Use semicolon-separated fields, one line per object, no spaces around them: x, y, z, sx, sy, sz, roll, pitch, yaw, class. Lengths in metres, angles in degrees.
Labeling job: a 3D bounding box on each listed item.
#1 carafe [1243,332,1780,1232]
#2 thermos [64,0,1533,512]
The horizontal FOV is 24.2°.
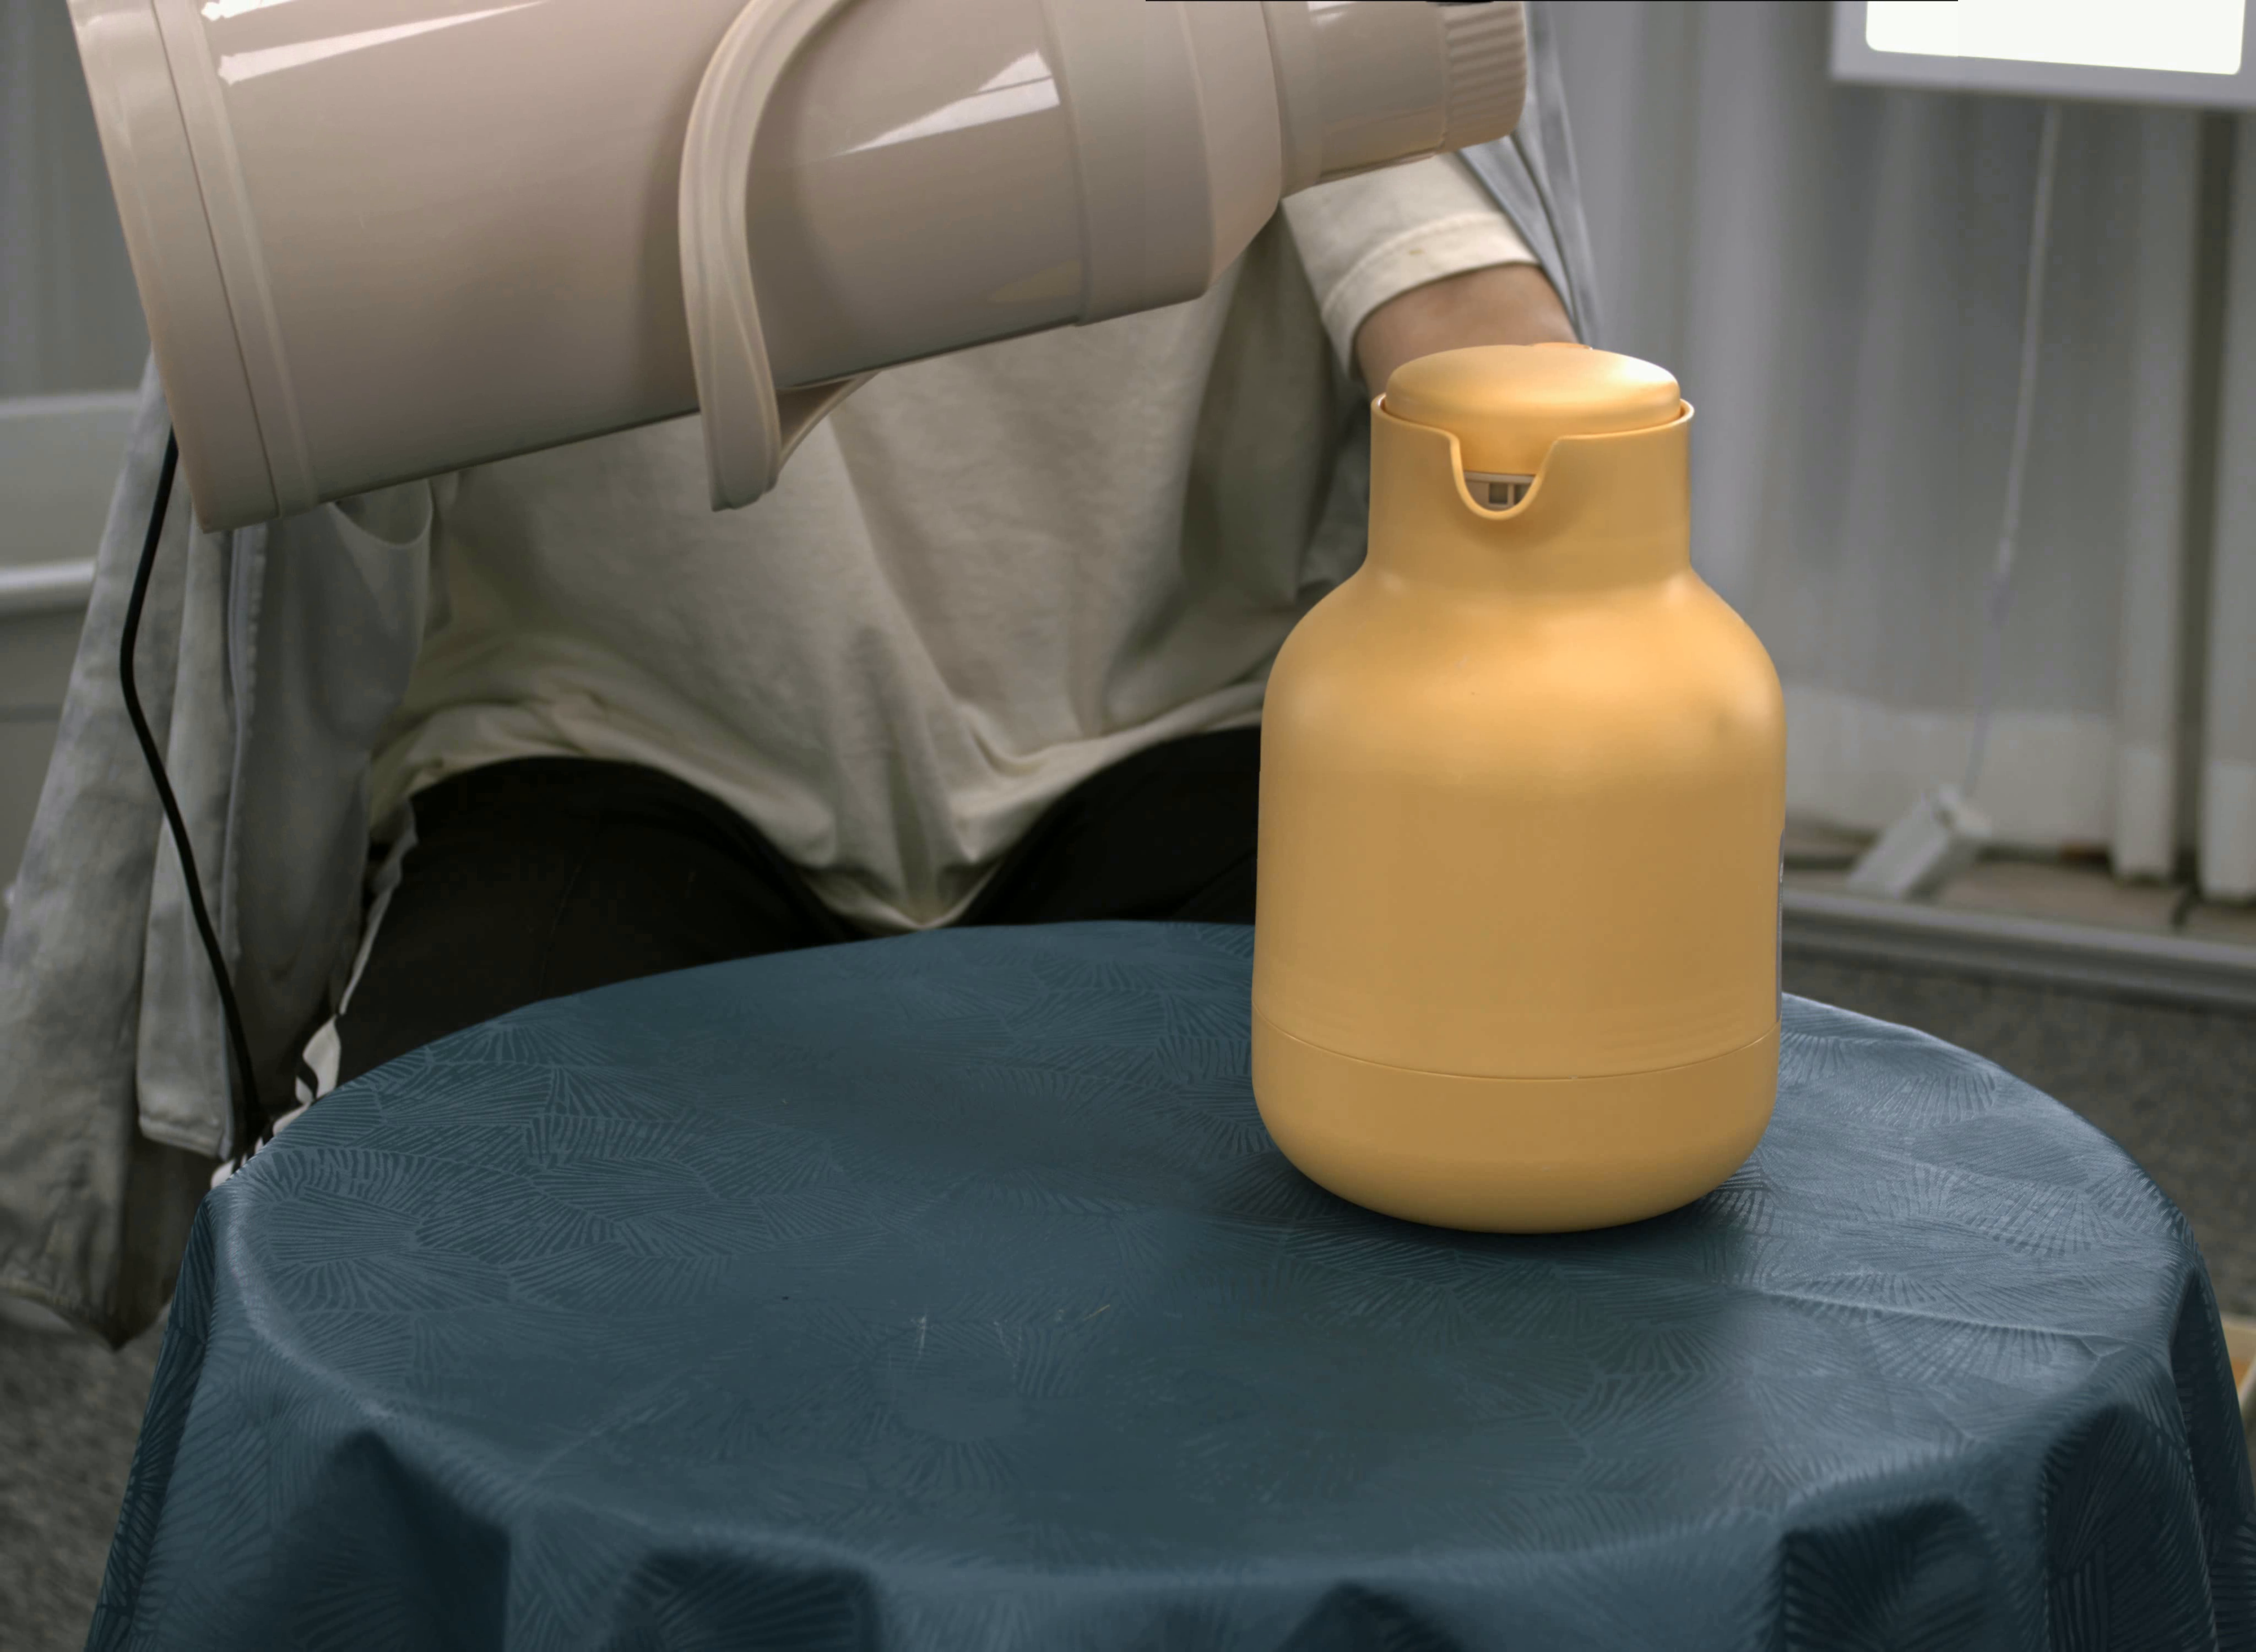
0.124;-0.022;1.623;0.162;0.262;0.202;6;18;12;carafe
-0.095;-0.220;1.515;0.406;0.177;0.205;-14;55;-8;thermos
